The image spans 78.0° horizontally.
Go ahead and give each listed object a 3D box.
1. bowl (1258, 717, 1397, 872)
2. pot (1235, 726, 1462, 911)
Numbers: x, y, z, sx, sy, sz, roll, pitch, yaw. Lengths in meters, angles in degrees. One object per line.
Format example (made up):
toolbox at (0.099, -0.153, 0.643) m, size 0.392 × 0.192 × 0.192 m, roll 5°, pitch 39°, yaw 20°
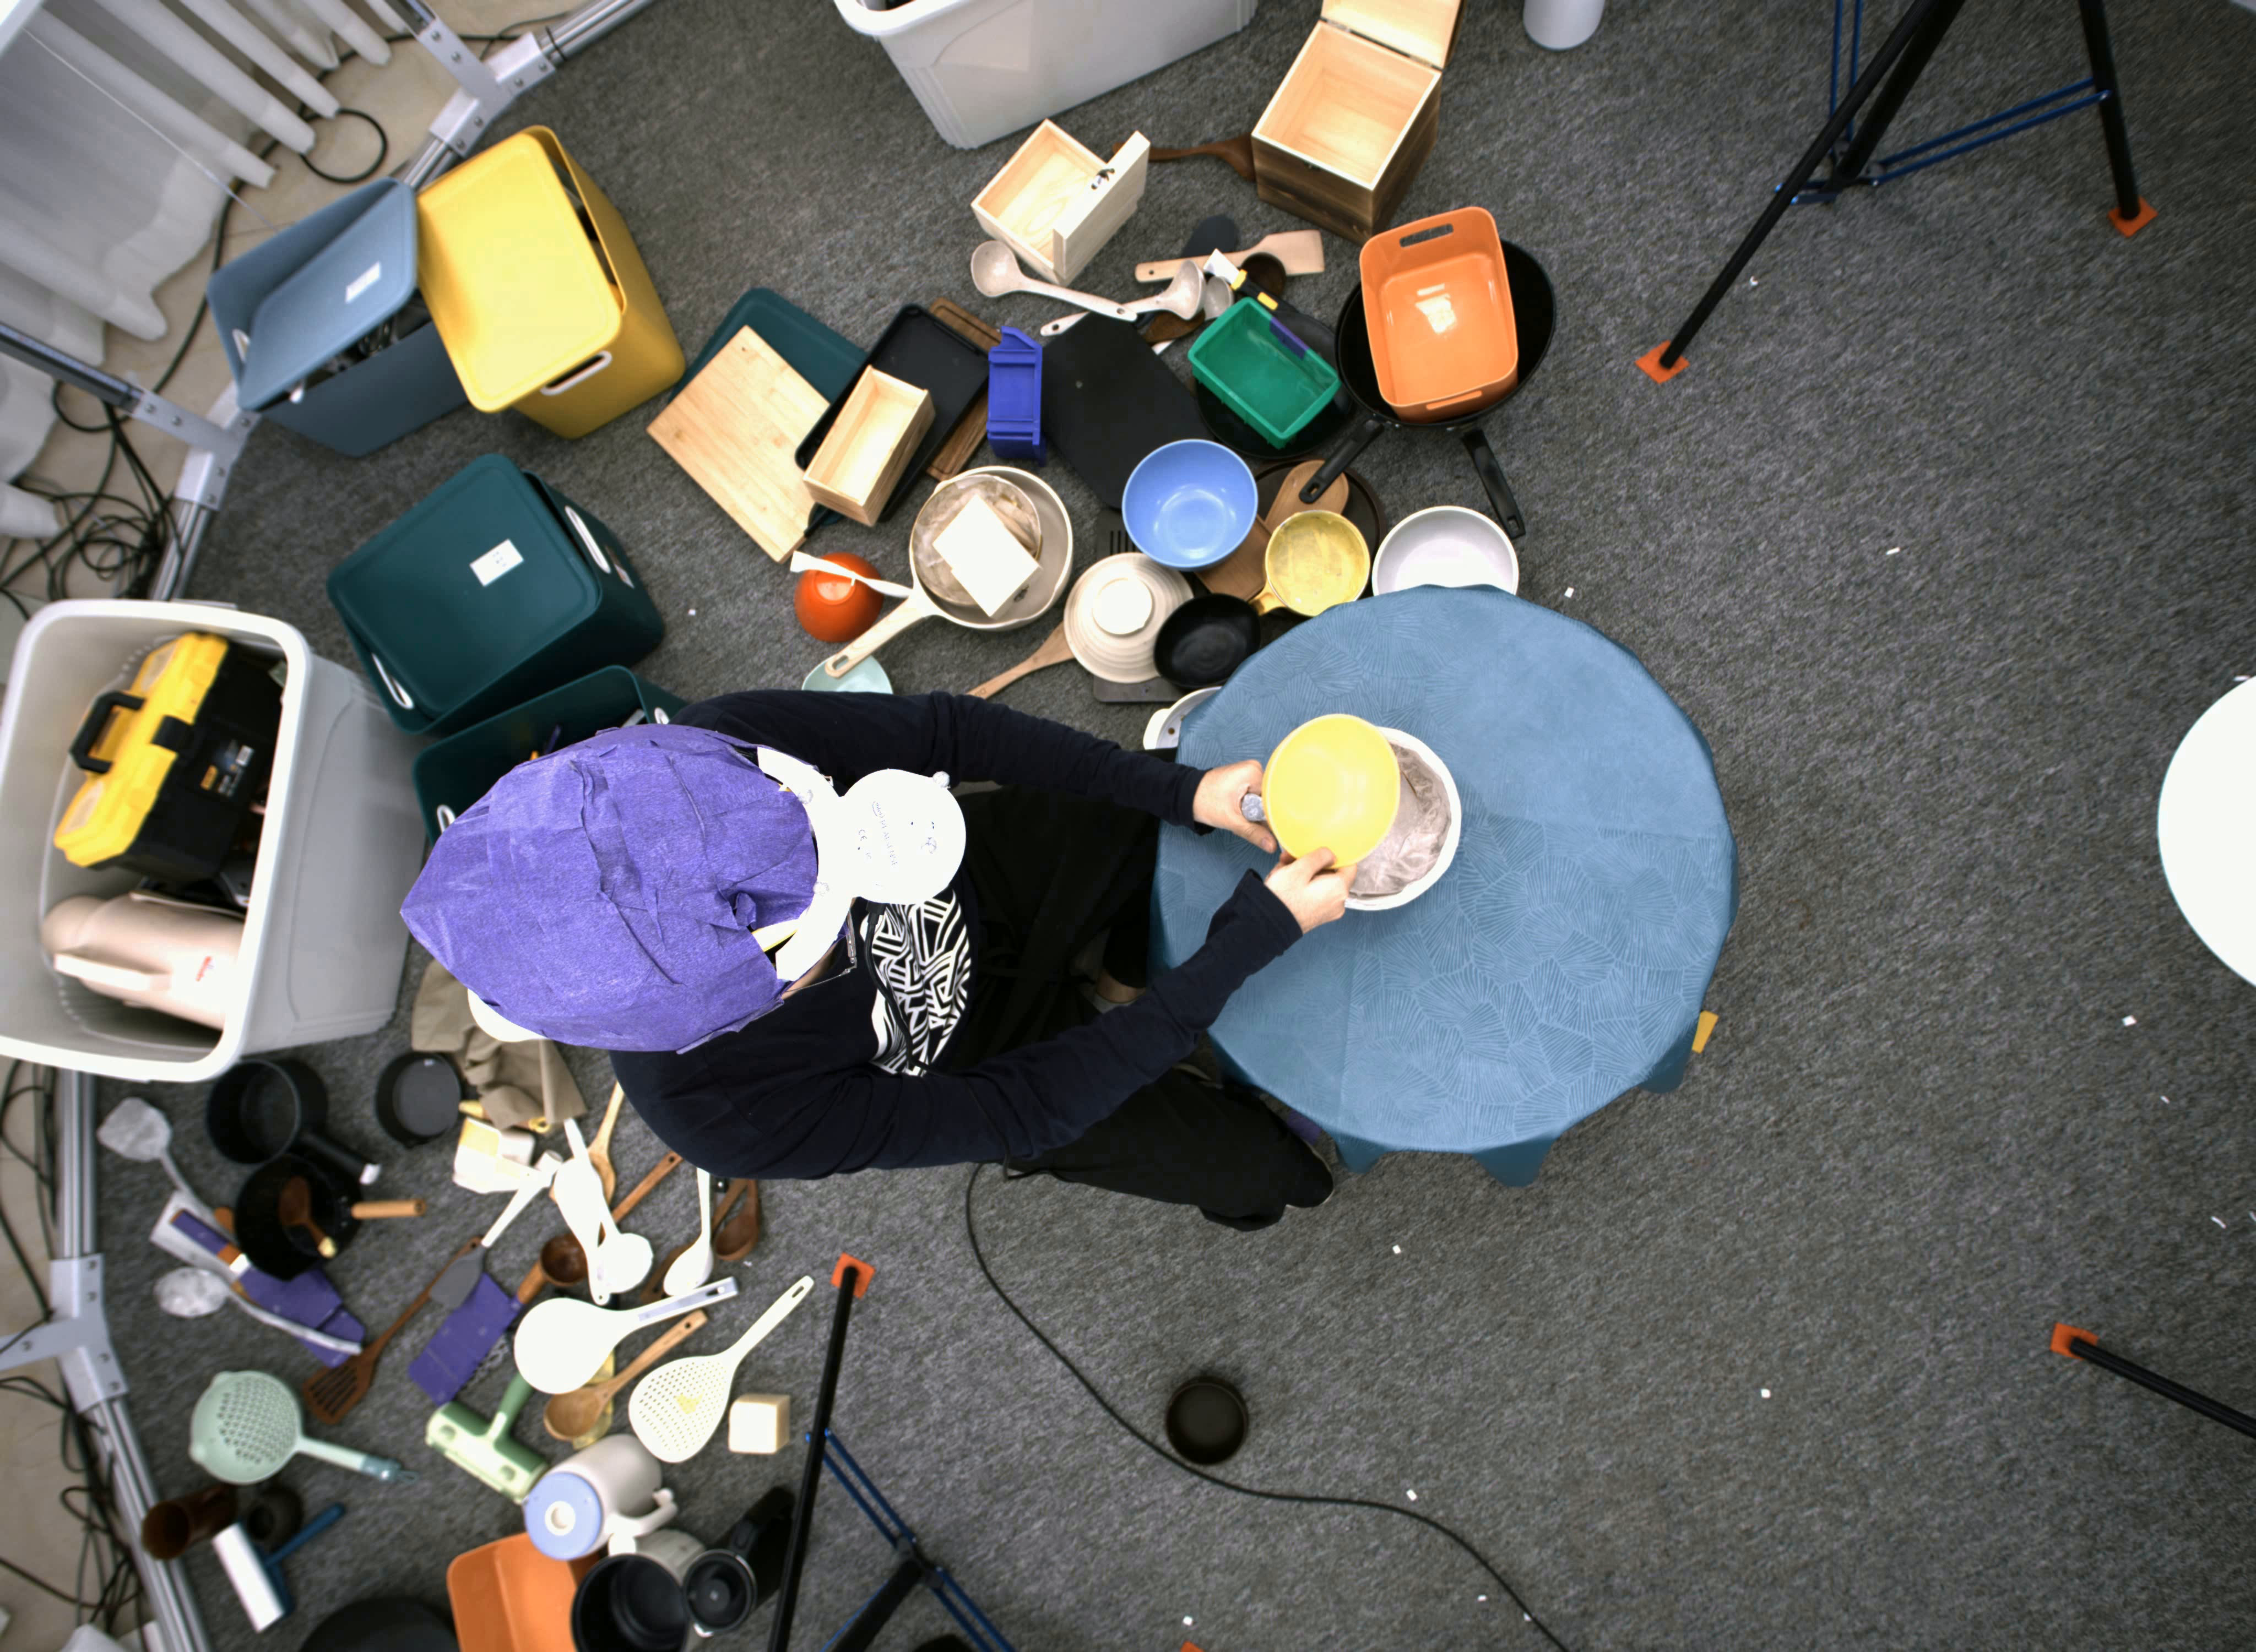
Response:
bowl at (0.179, -0.031, 1.307) m, size 0.144 × 0.060 × 0.146 m, roll -2°, pitch 97°, yaw -21°
pot at (0.217, -0.010, 1.388) m, size 0.234 × 0.136 × 0.179 m, roll 5°, pitch 93°, yaw 15°
